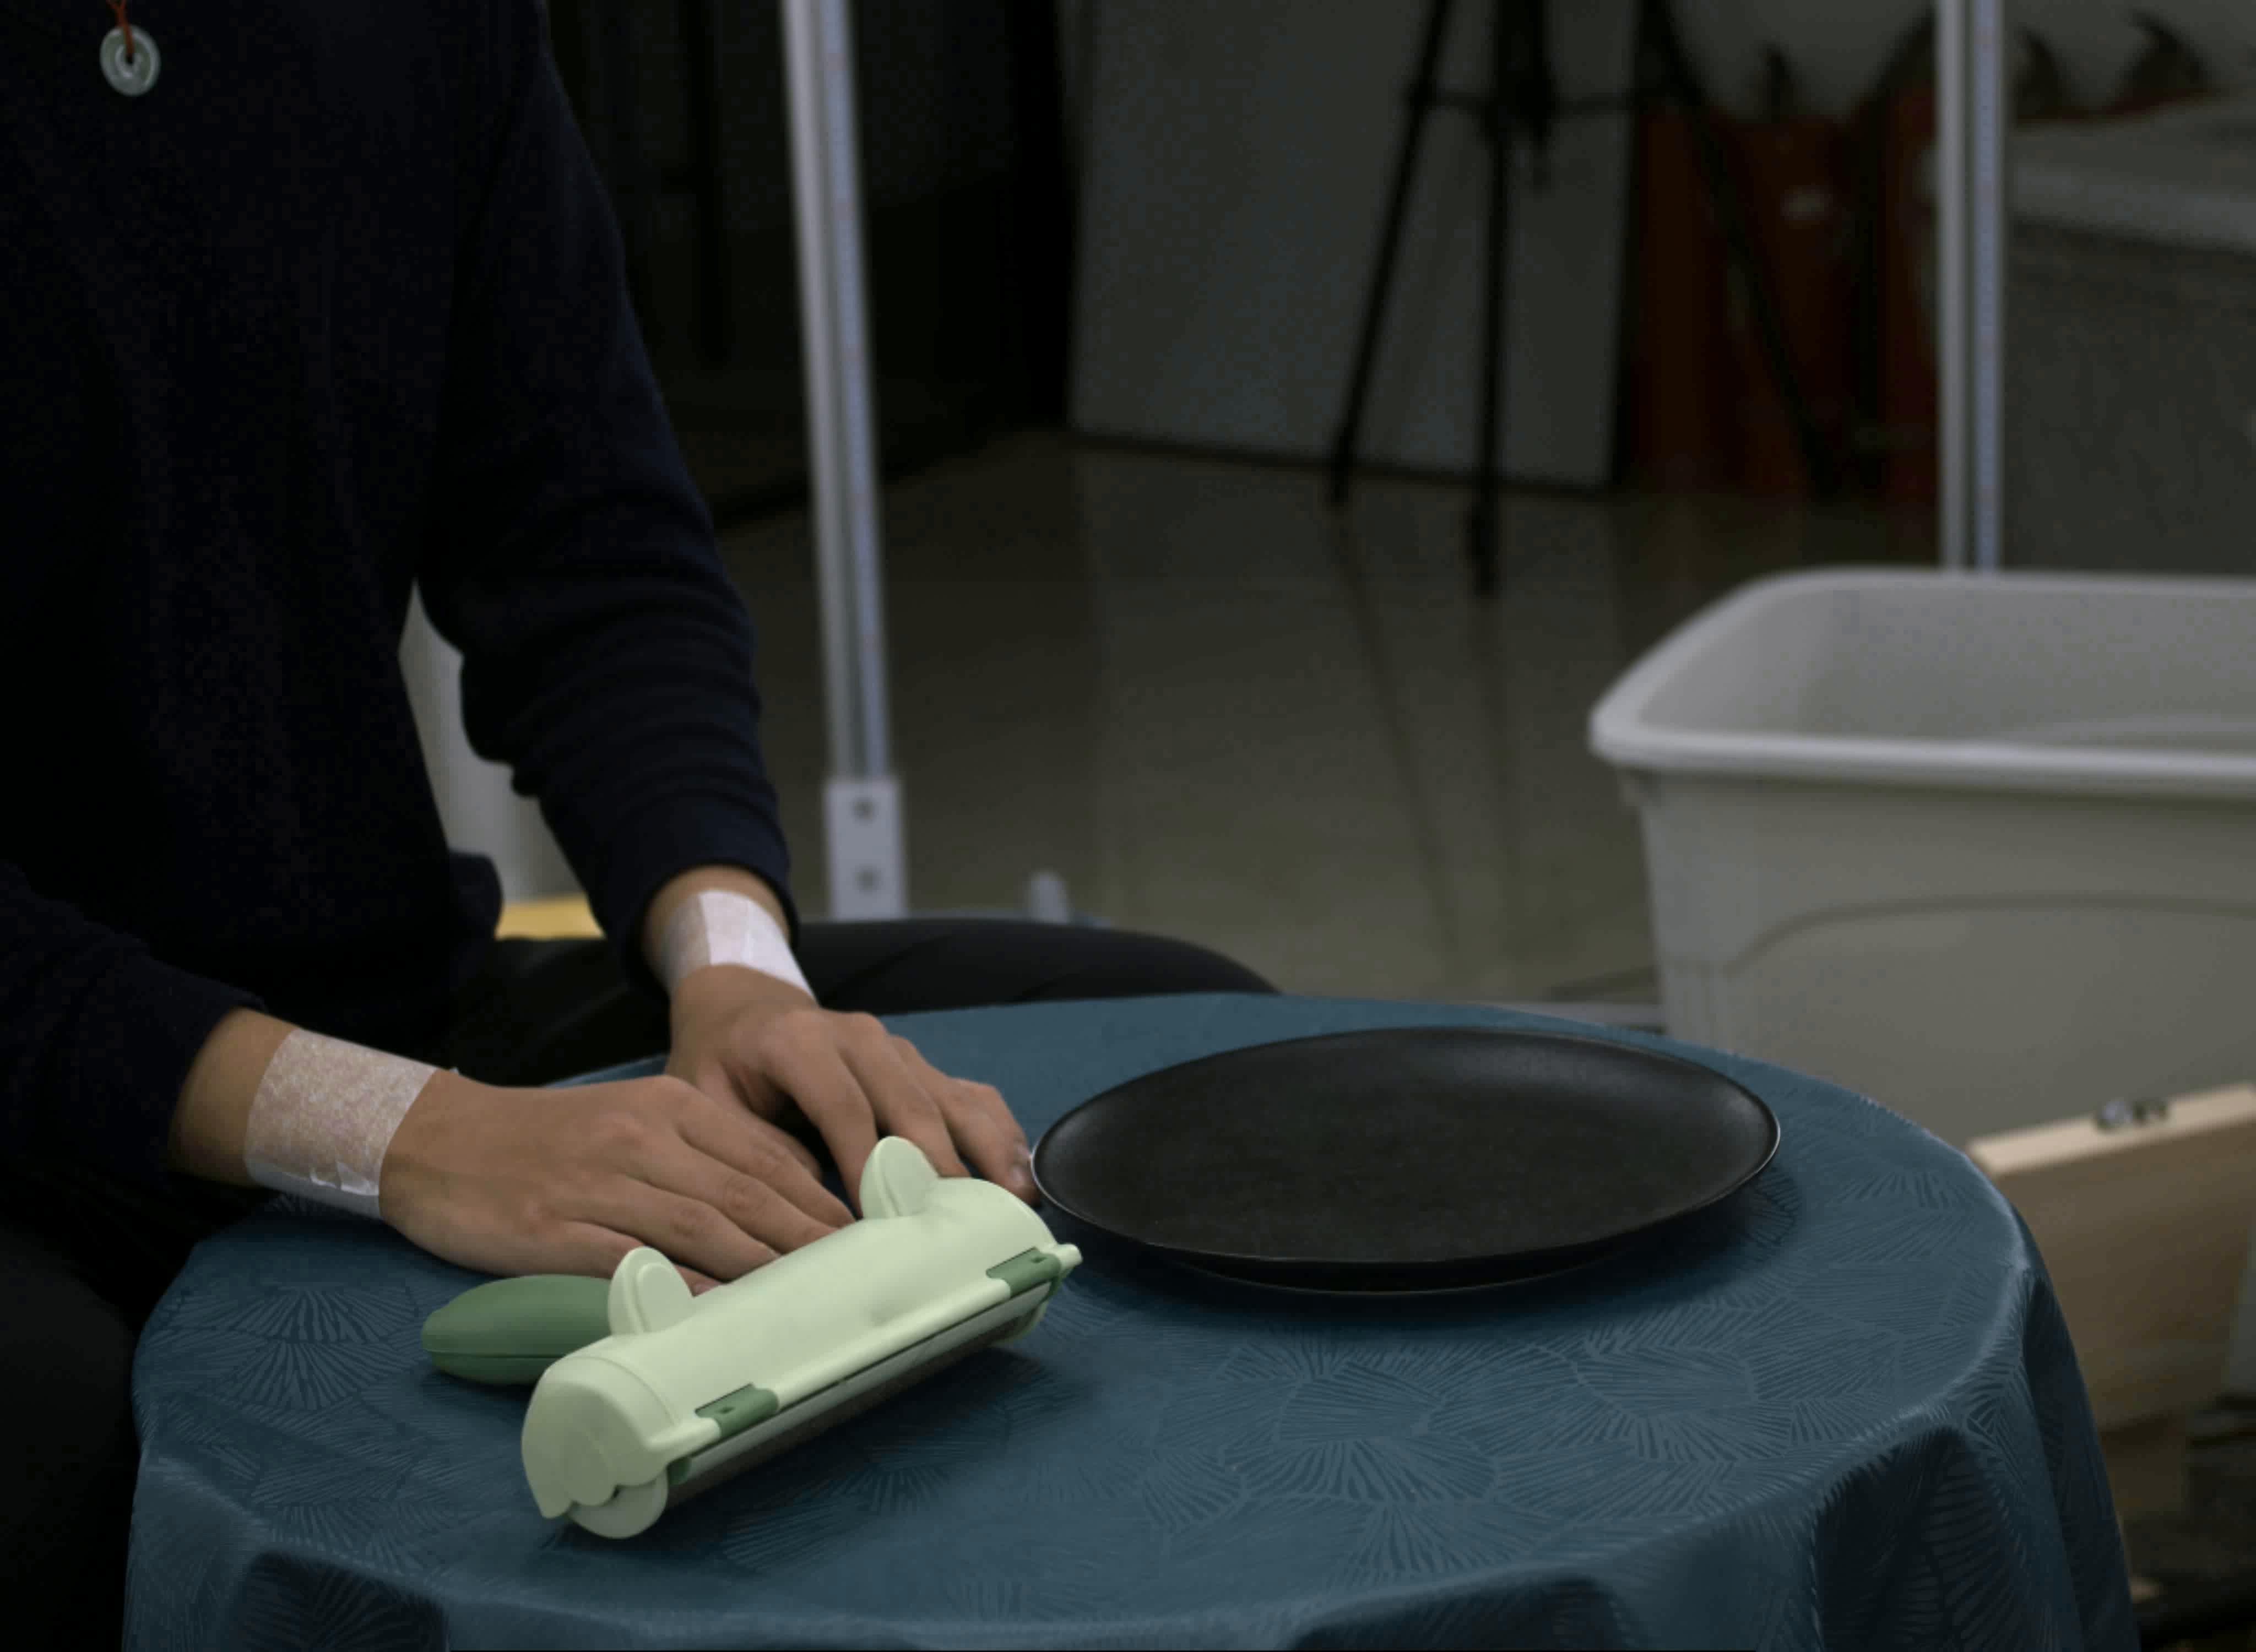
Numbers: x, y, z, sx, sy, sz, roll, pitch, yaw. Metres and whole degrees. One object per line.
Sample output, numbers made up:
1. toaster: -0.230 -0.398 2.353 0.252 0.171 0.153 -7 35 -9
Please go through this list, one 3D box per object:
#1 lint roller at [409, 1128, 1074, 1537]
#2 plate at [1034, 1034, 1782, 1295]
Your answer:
1. lint roller: -0.140 0.133 1.585 0.184 0.083 0.195 13 20 33
2. plate: 0.090 0.111 1.735 0.241 0.024 0.245 -4 14 0
